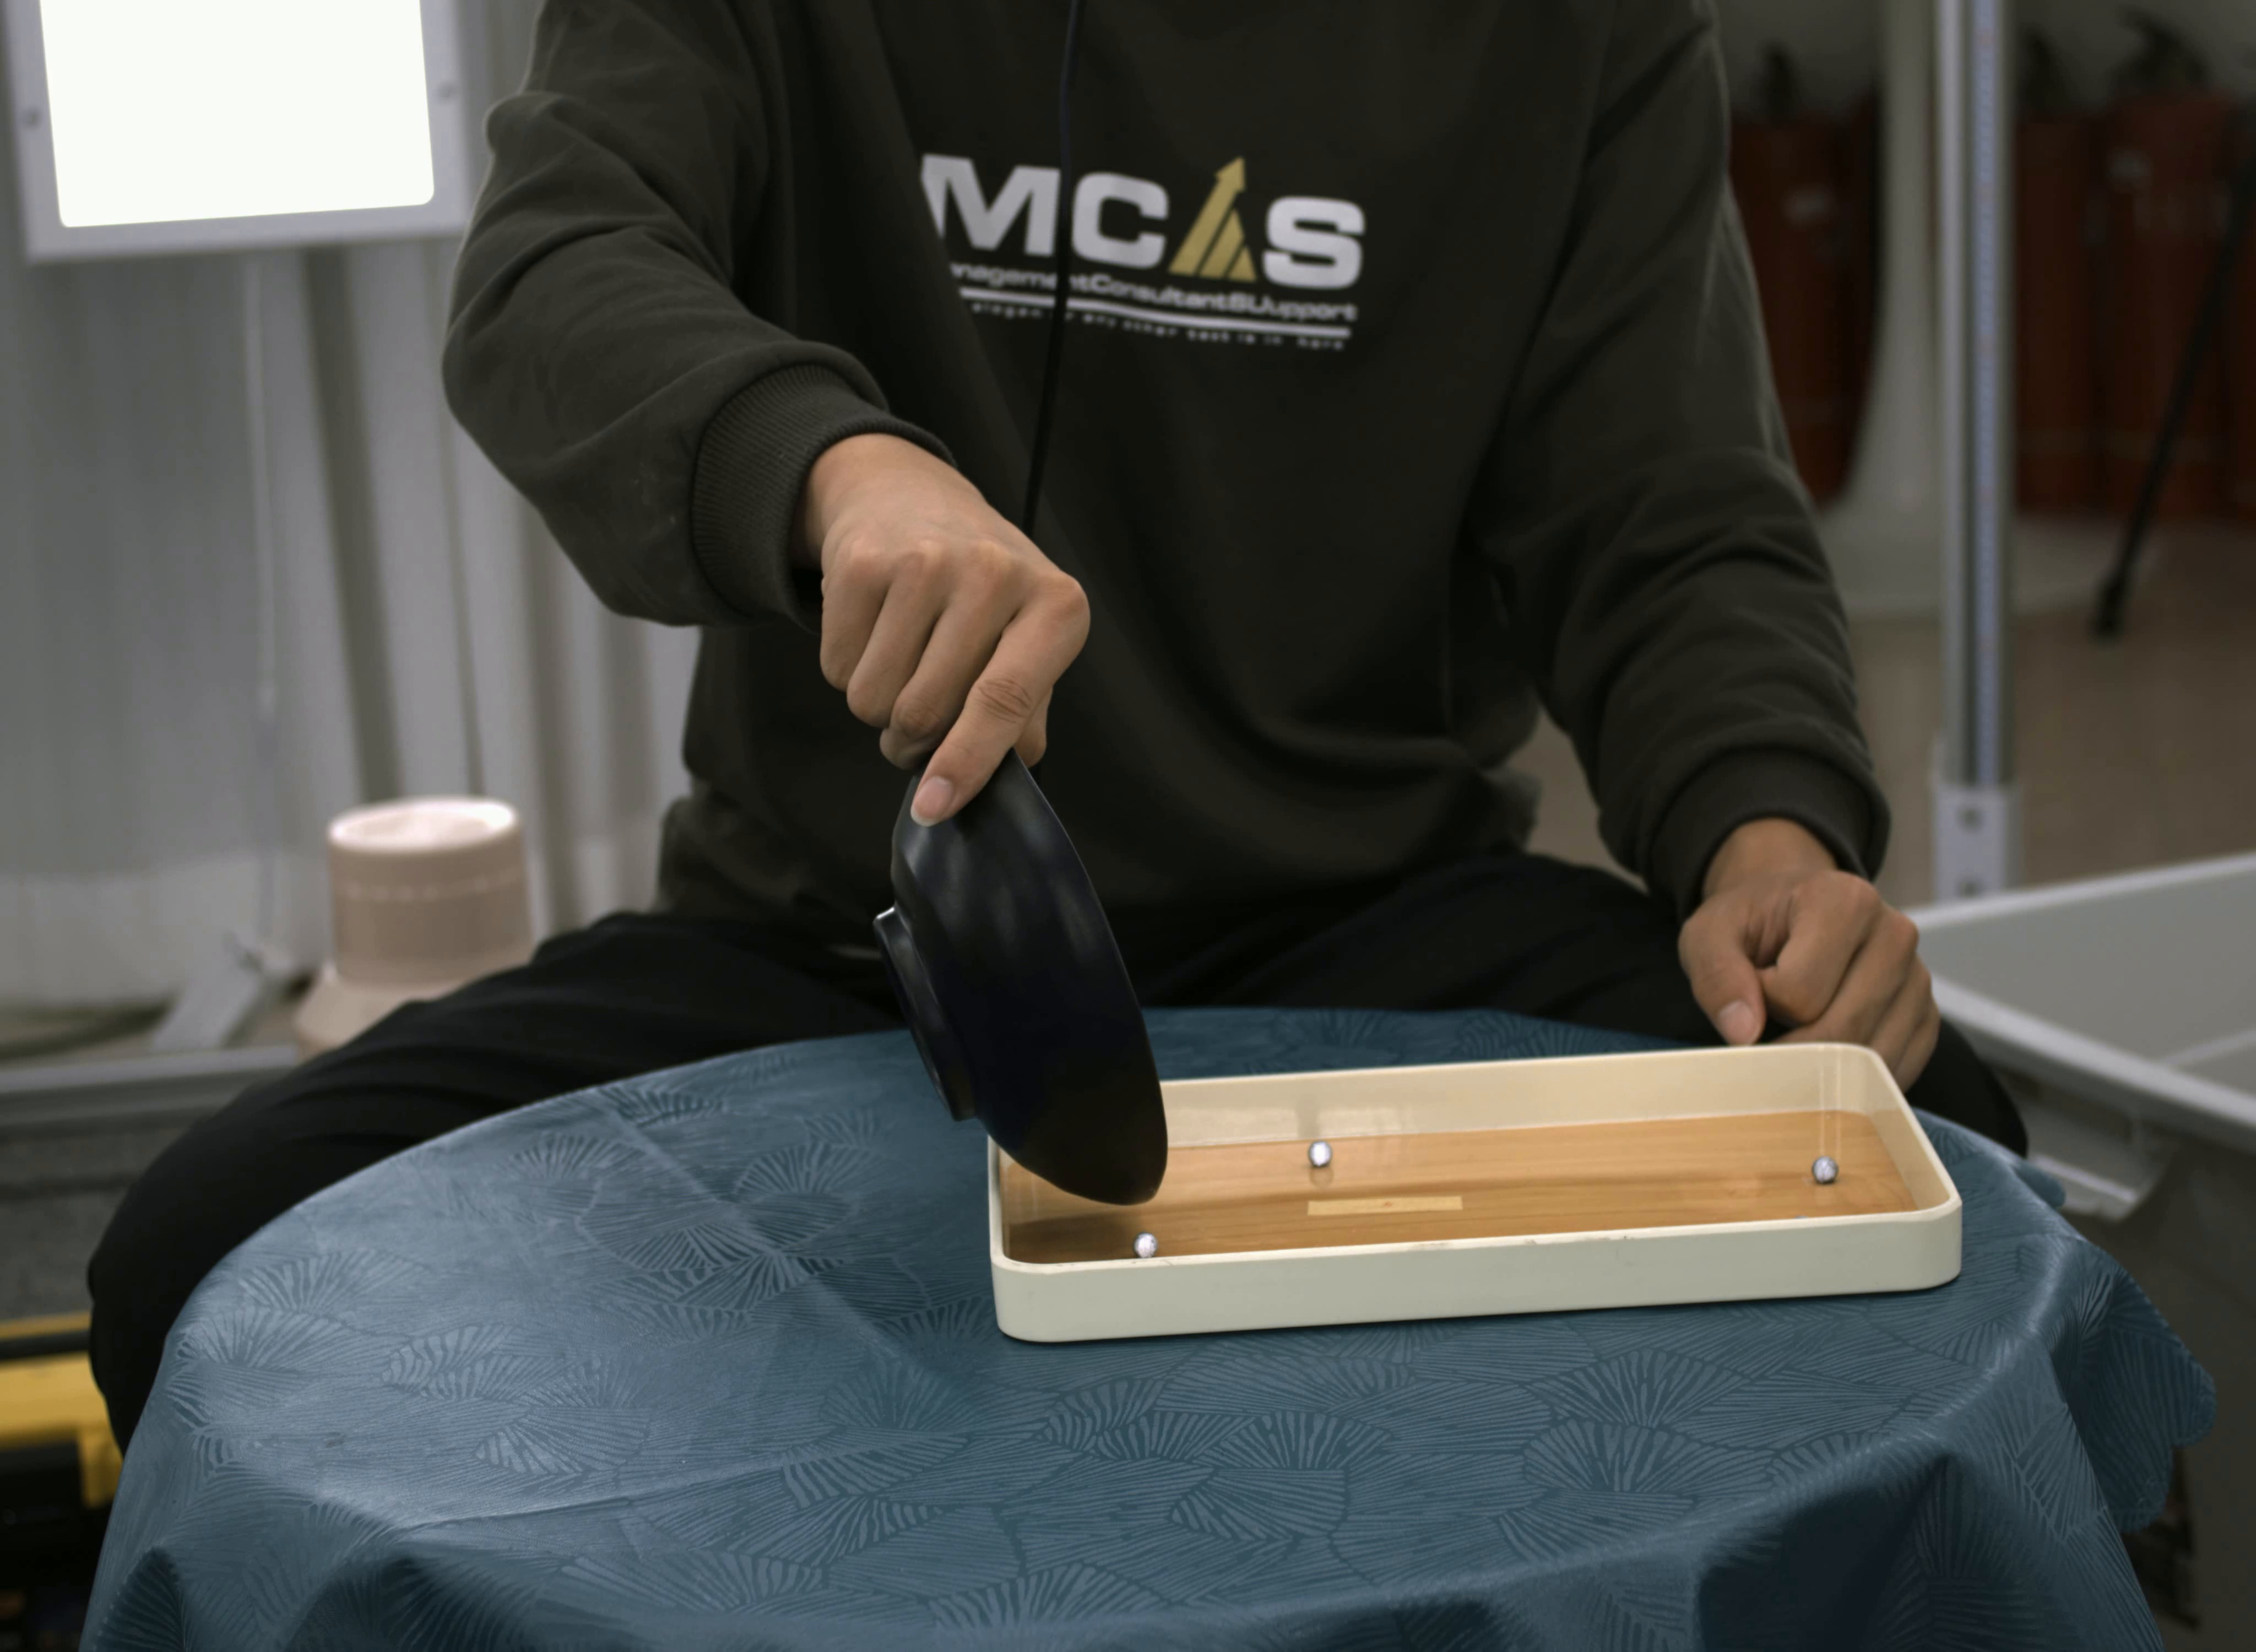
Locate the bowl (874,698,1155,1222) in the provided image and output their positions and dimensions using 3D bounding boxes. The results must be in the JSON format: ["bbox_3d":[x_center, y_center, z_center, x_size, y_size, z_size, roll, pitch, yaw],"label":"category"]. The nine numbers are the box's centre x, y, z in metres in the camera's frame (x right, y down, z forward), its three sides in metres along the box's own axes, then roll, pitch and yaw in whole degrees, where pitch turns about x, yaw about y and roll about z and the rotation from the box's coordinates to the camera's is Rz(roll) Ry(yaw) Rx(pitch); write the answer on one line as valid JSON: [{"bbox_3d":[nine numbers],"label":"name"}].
[{"bbox_3d":[-0.040,0.048,1.696,0.066,0.171,0.138,-18,19,-5],"label":"bowl"}]

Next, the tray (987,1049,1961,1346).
[{"bbox_3d":[0.104,0.117,1.712,0.296,0.028,0.192,-4,13,0],"label":"tray"}]
